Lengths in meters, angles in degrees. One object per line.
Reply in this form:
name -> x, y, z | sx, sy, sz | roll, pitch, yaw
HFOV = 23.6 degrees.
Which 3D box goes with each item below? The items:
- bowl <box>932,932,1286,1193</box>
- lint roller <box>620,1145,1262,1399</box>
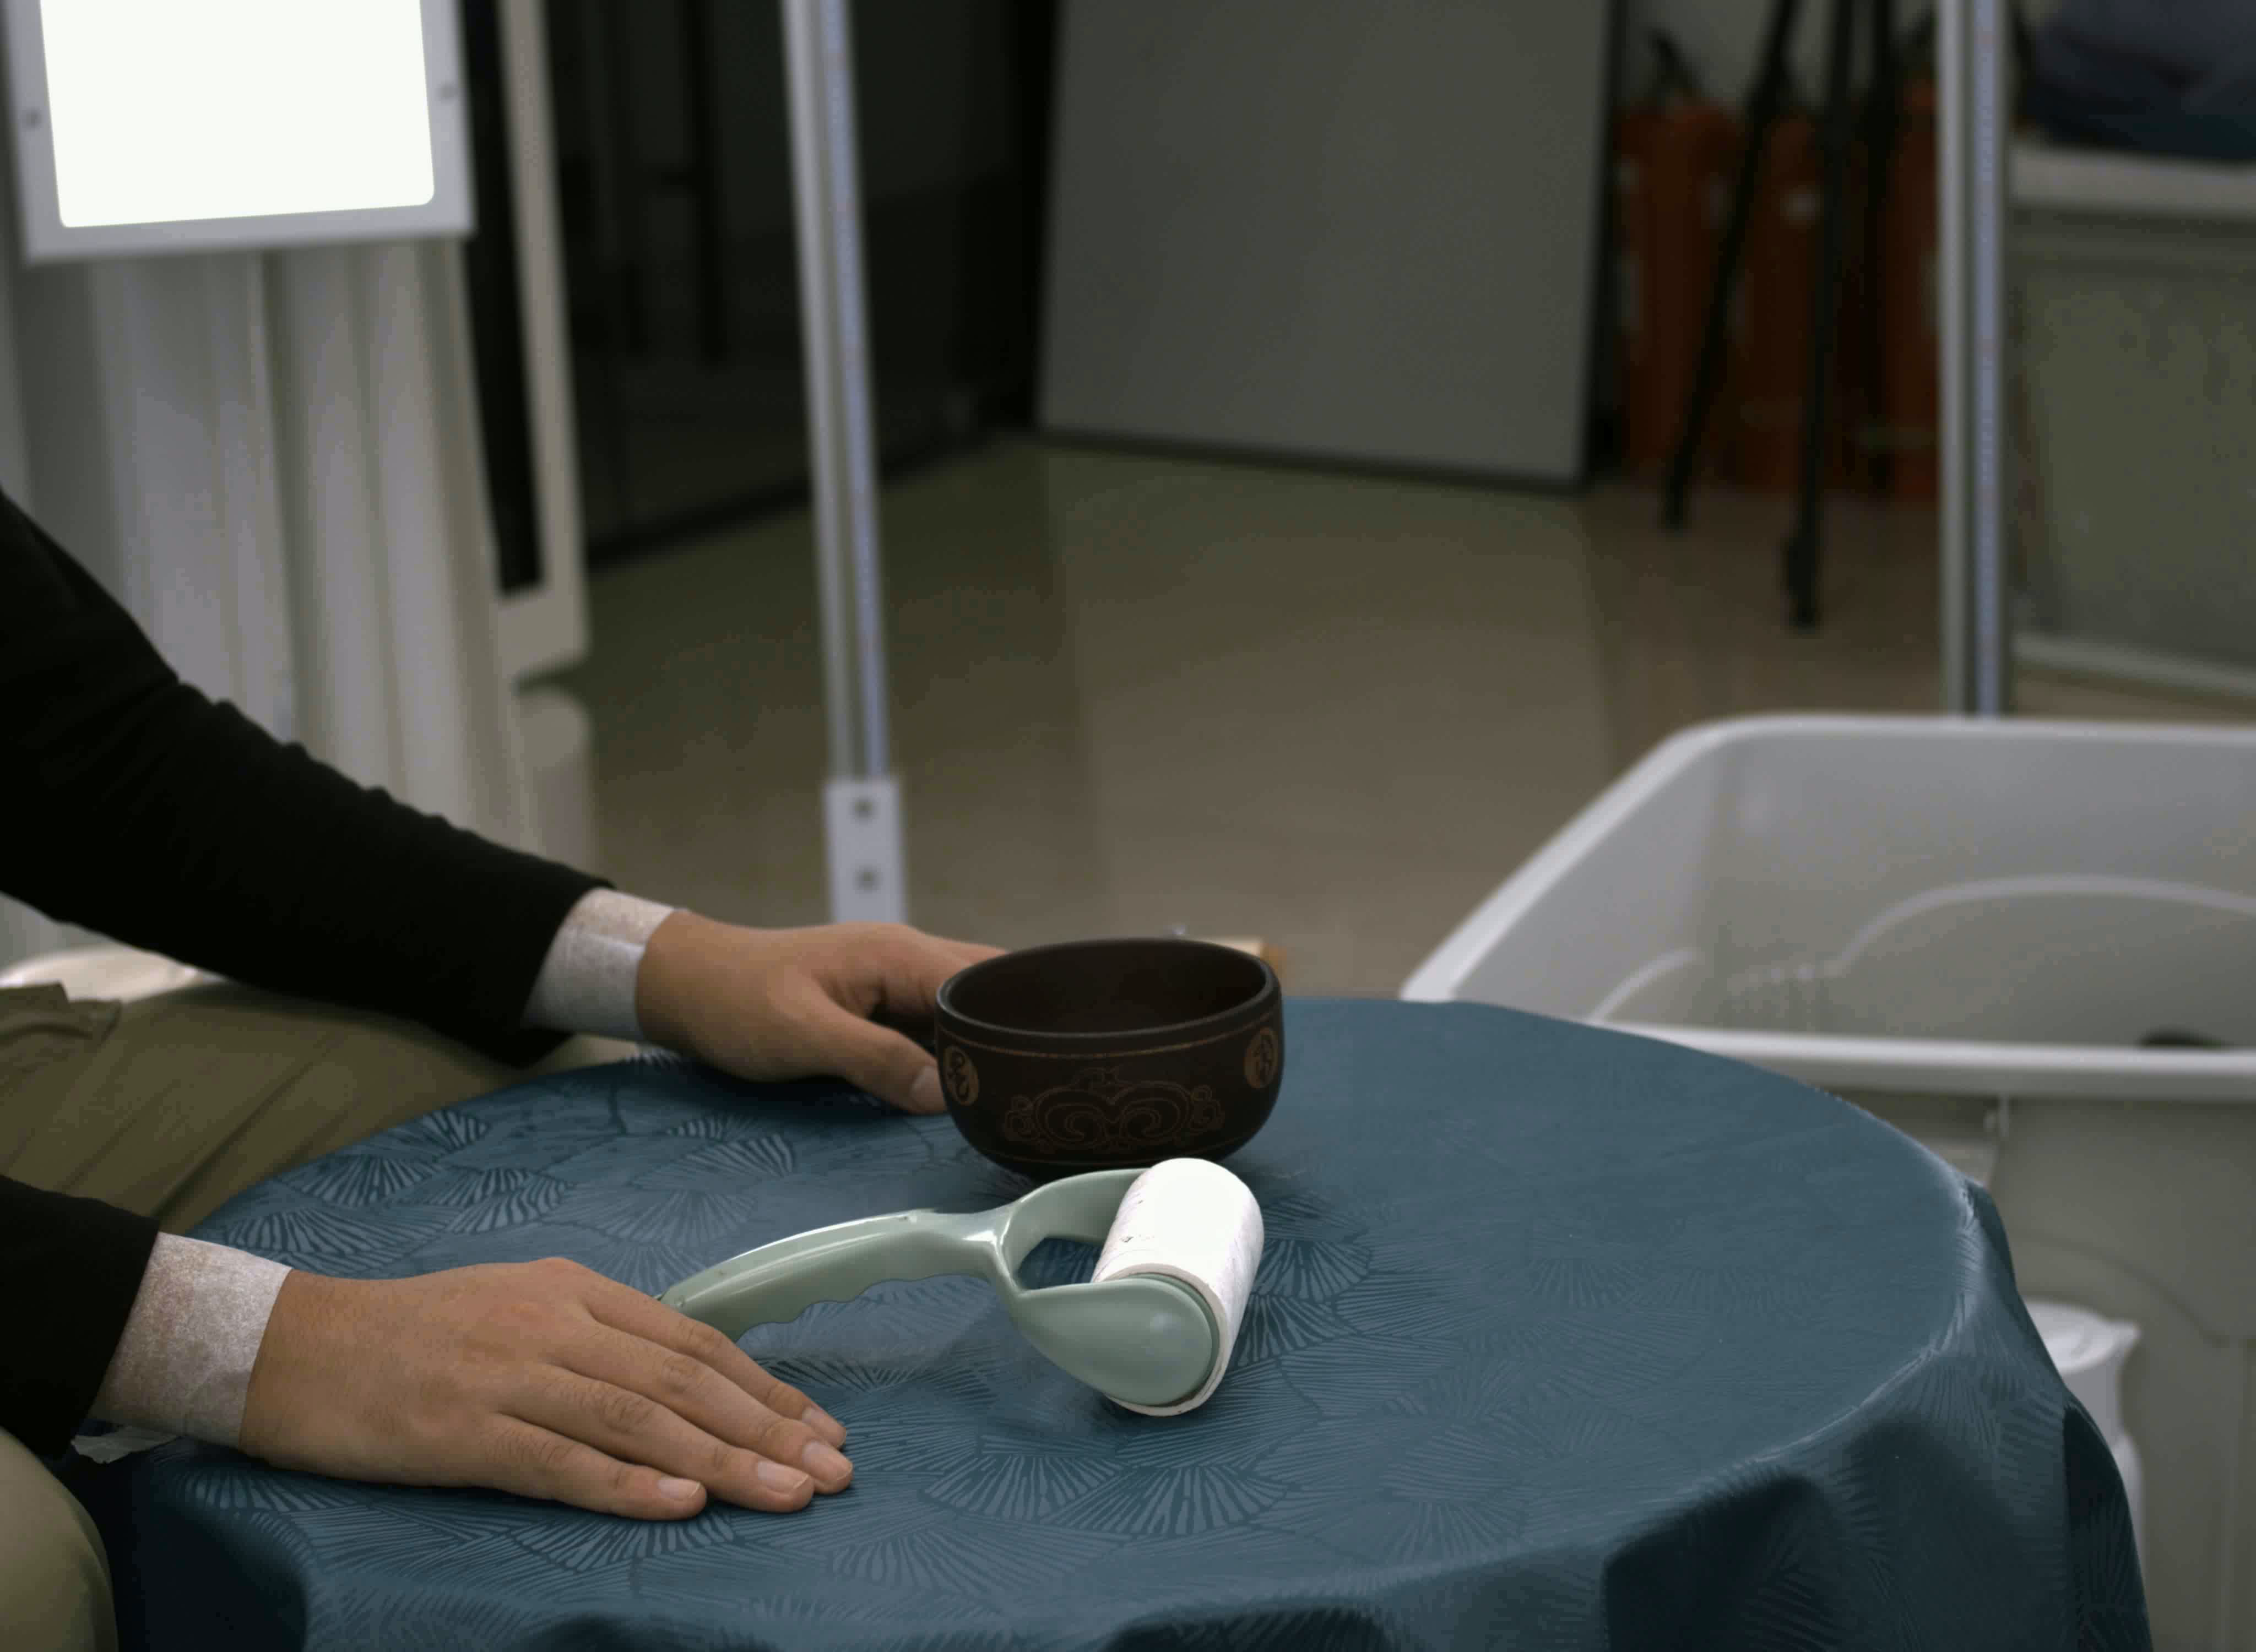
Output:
bowl -> -0.005, 0.084, 1.771 | 0.116, 0.070, 0.118 | -5, 14, 0
lint roller -> -0.058, 0.138, 1.624 | 0.196, 0.049, 0.116 | -4, 14, 10
